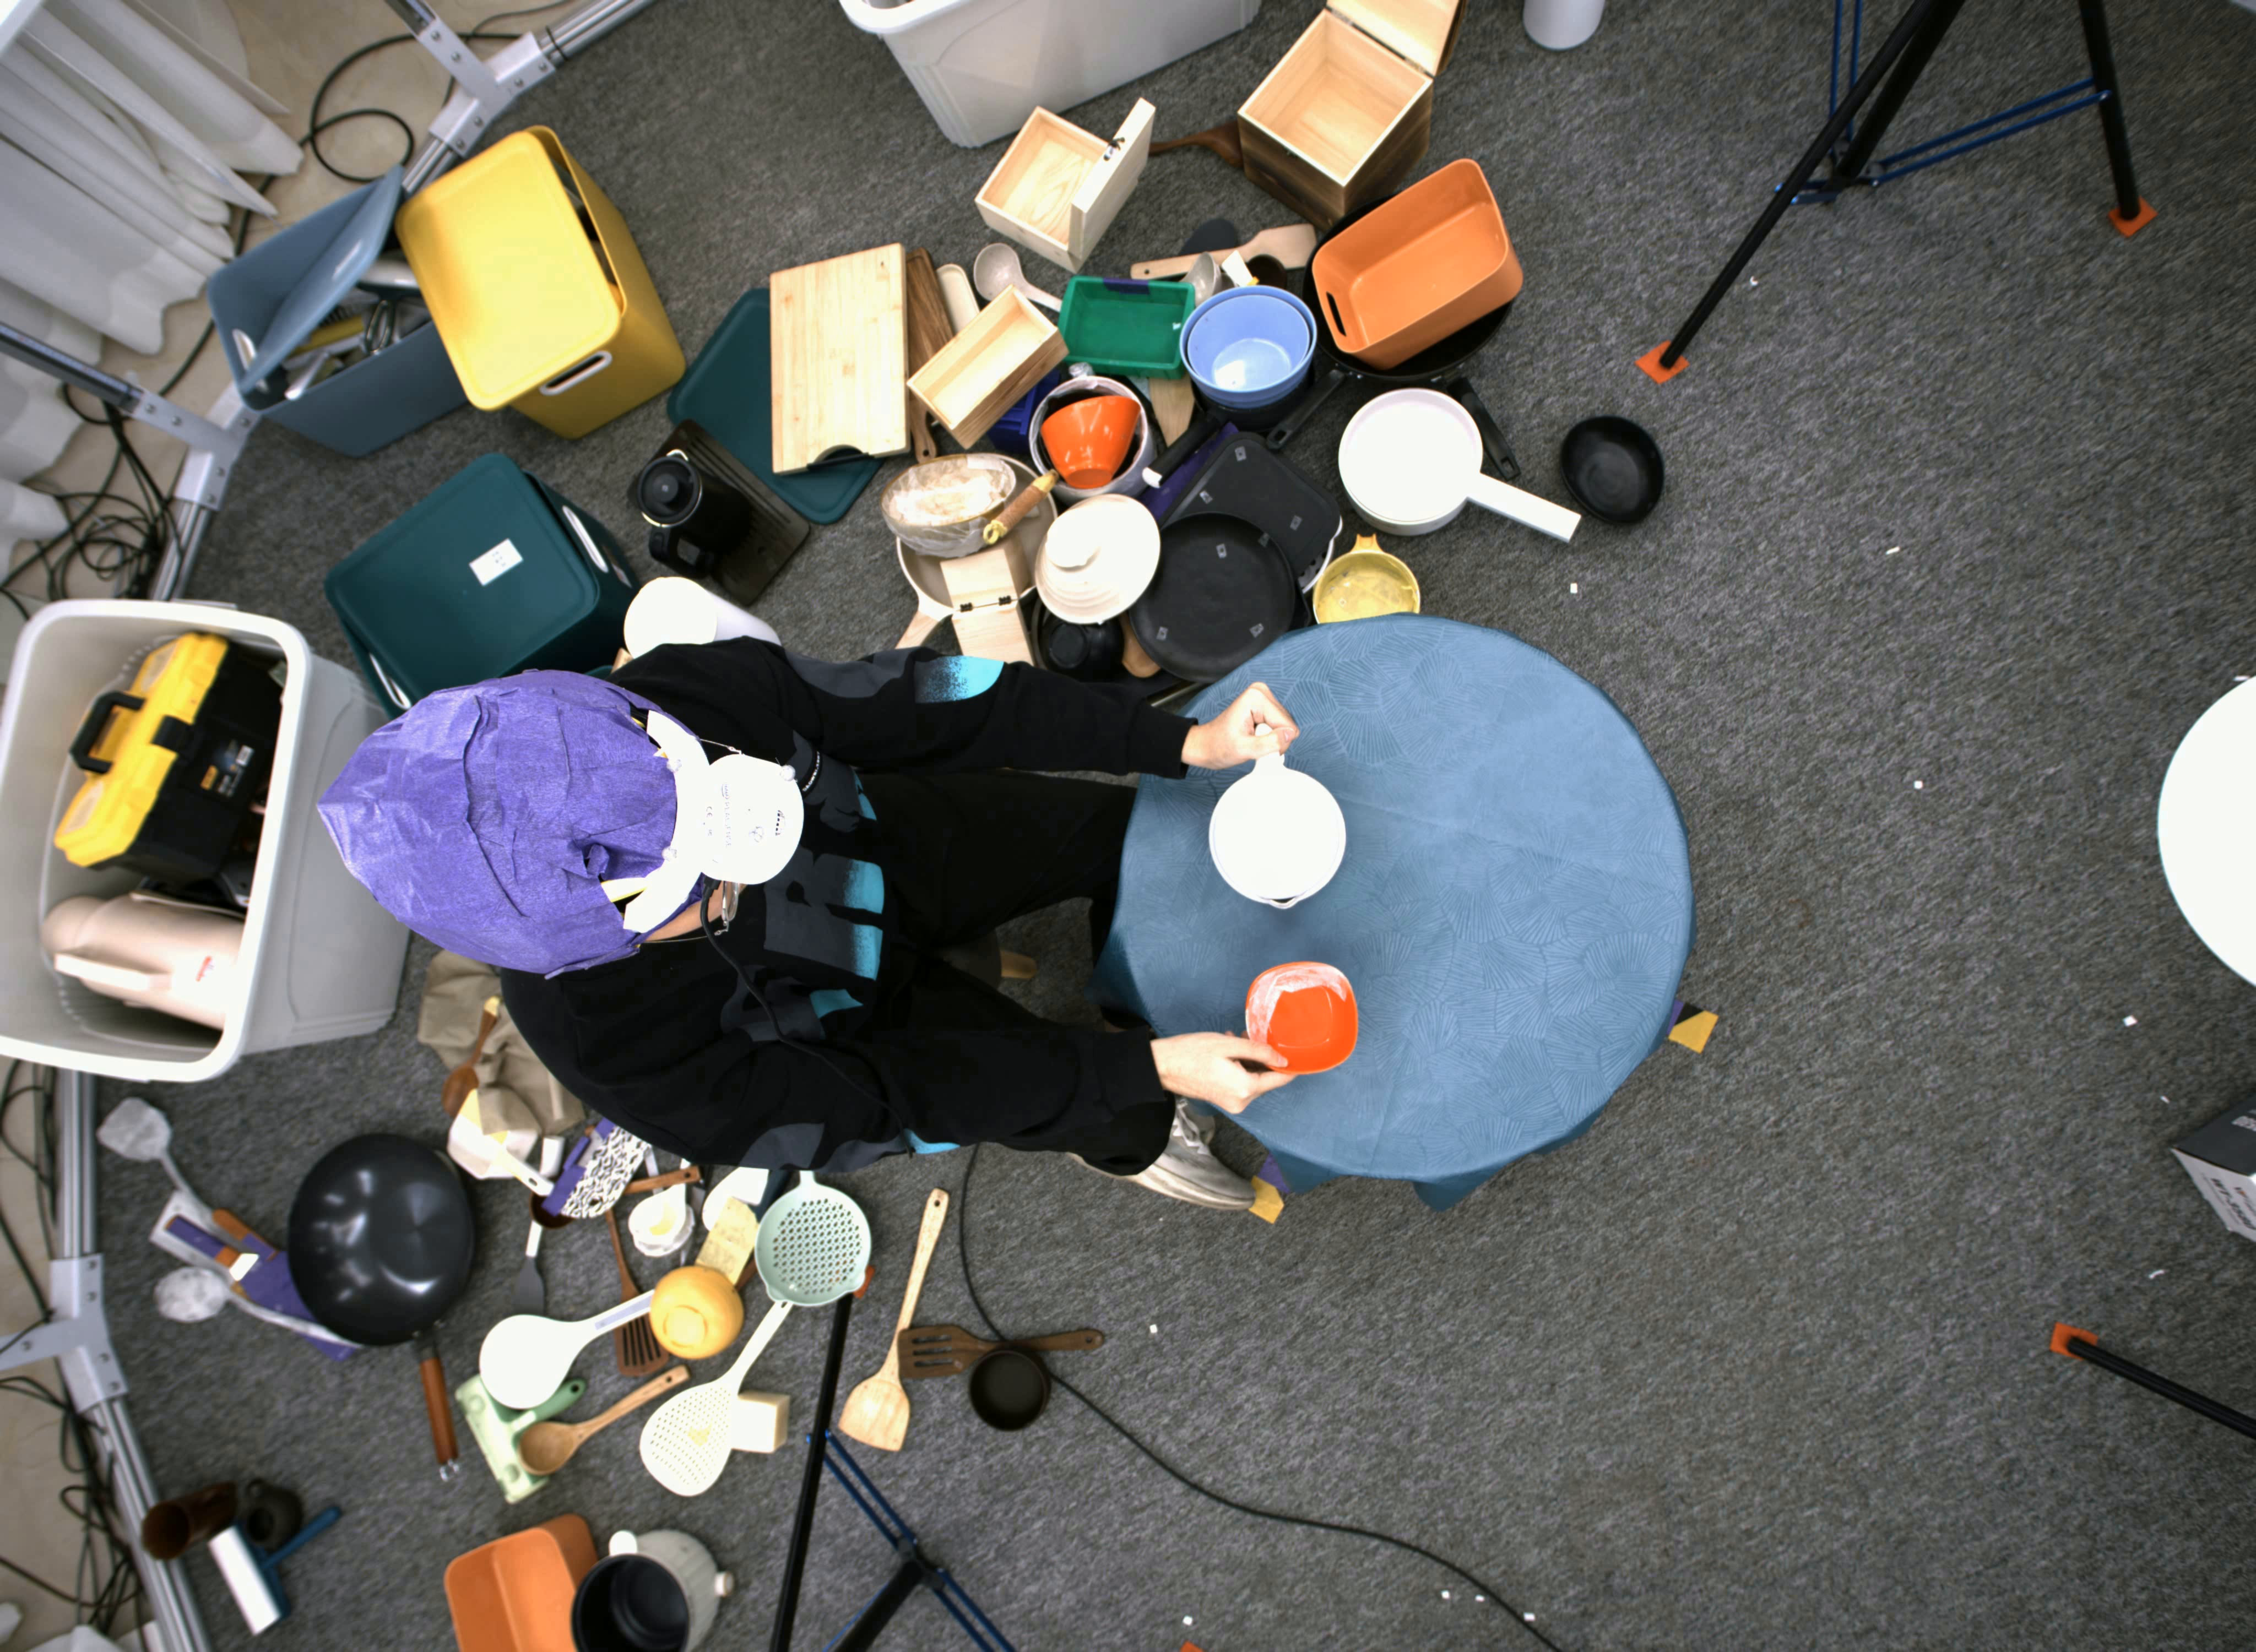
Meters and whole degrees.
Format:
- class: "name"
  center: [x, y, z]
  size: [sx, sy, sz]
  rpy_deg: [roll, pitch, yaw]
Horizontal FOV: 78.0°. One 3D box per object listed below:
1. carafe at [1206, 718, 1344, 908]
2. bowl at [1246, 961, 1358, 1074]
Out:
- class: "carafe"
  center: [0.142, -0.014, 1.364]
  size: [0.133, 0.182, 0.190]
  rpy_deg: [-9, 87, 7]
- class: "bowl"
  center: [0.172, 0.189, 1.388]
  size: [0.119, 0.051, 0.118]
  rpy_deg: [0, 89, 4]
